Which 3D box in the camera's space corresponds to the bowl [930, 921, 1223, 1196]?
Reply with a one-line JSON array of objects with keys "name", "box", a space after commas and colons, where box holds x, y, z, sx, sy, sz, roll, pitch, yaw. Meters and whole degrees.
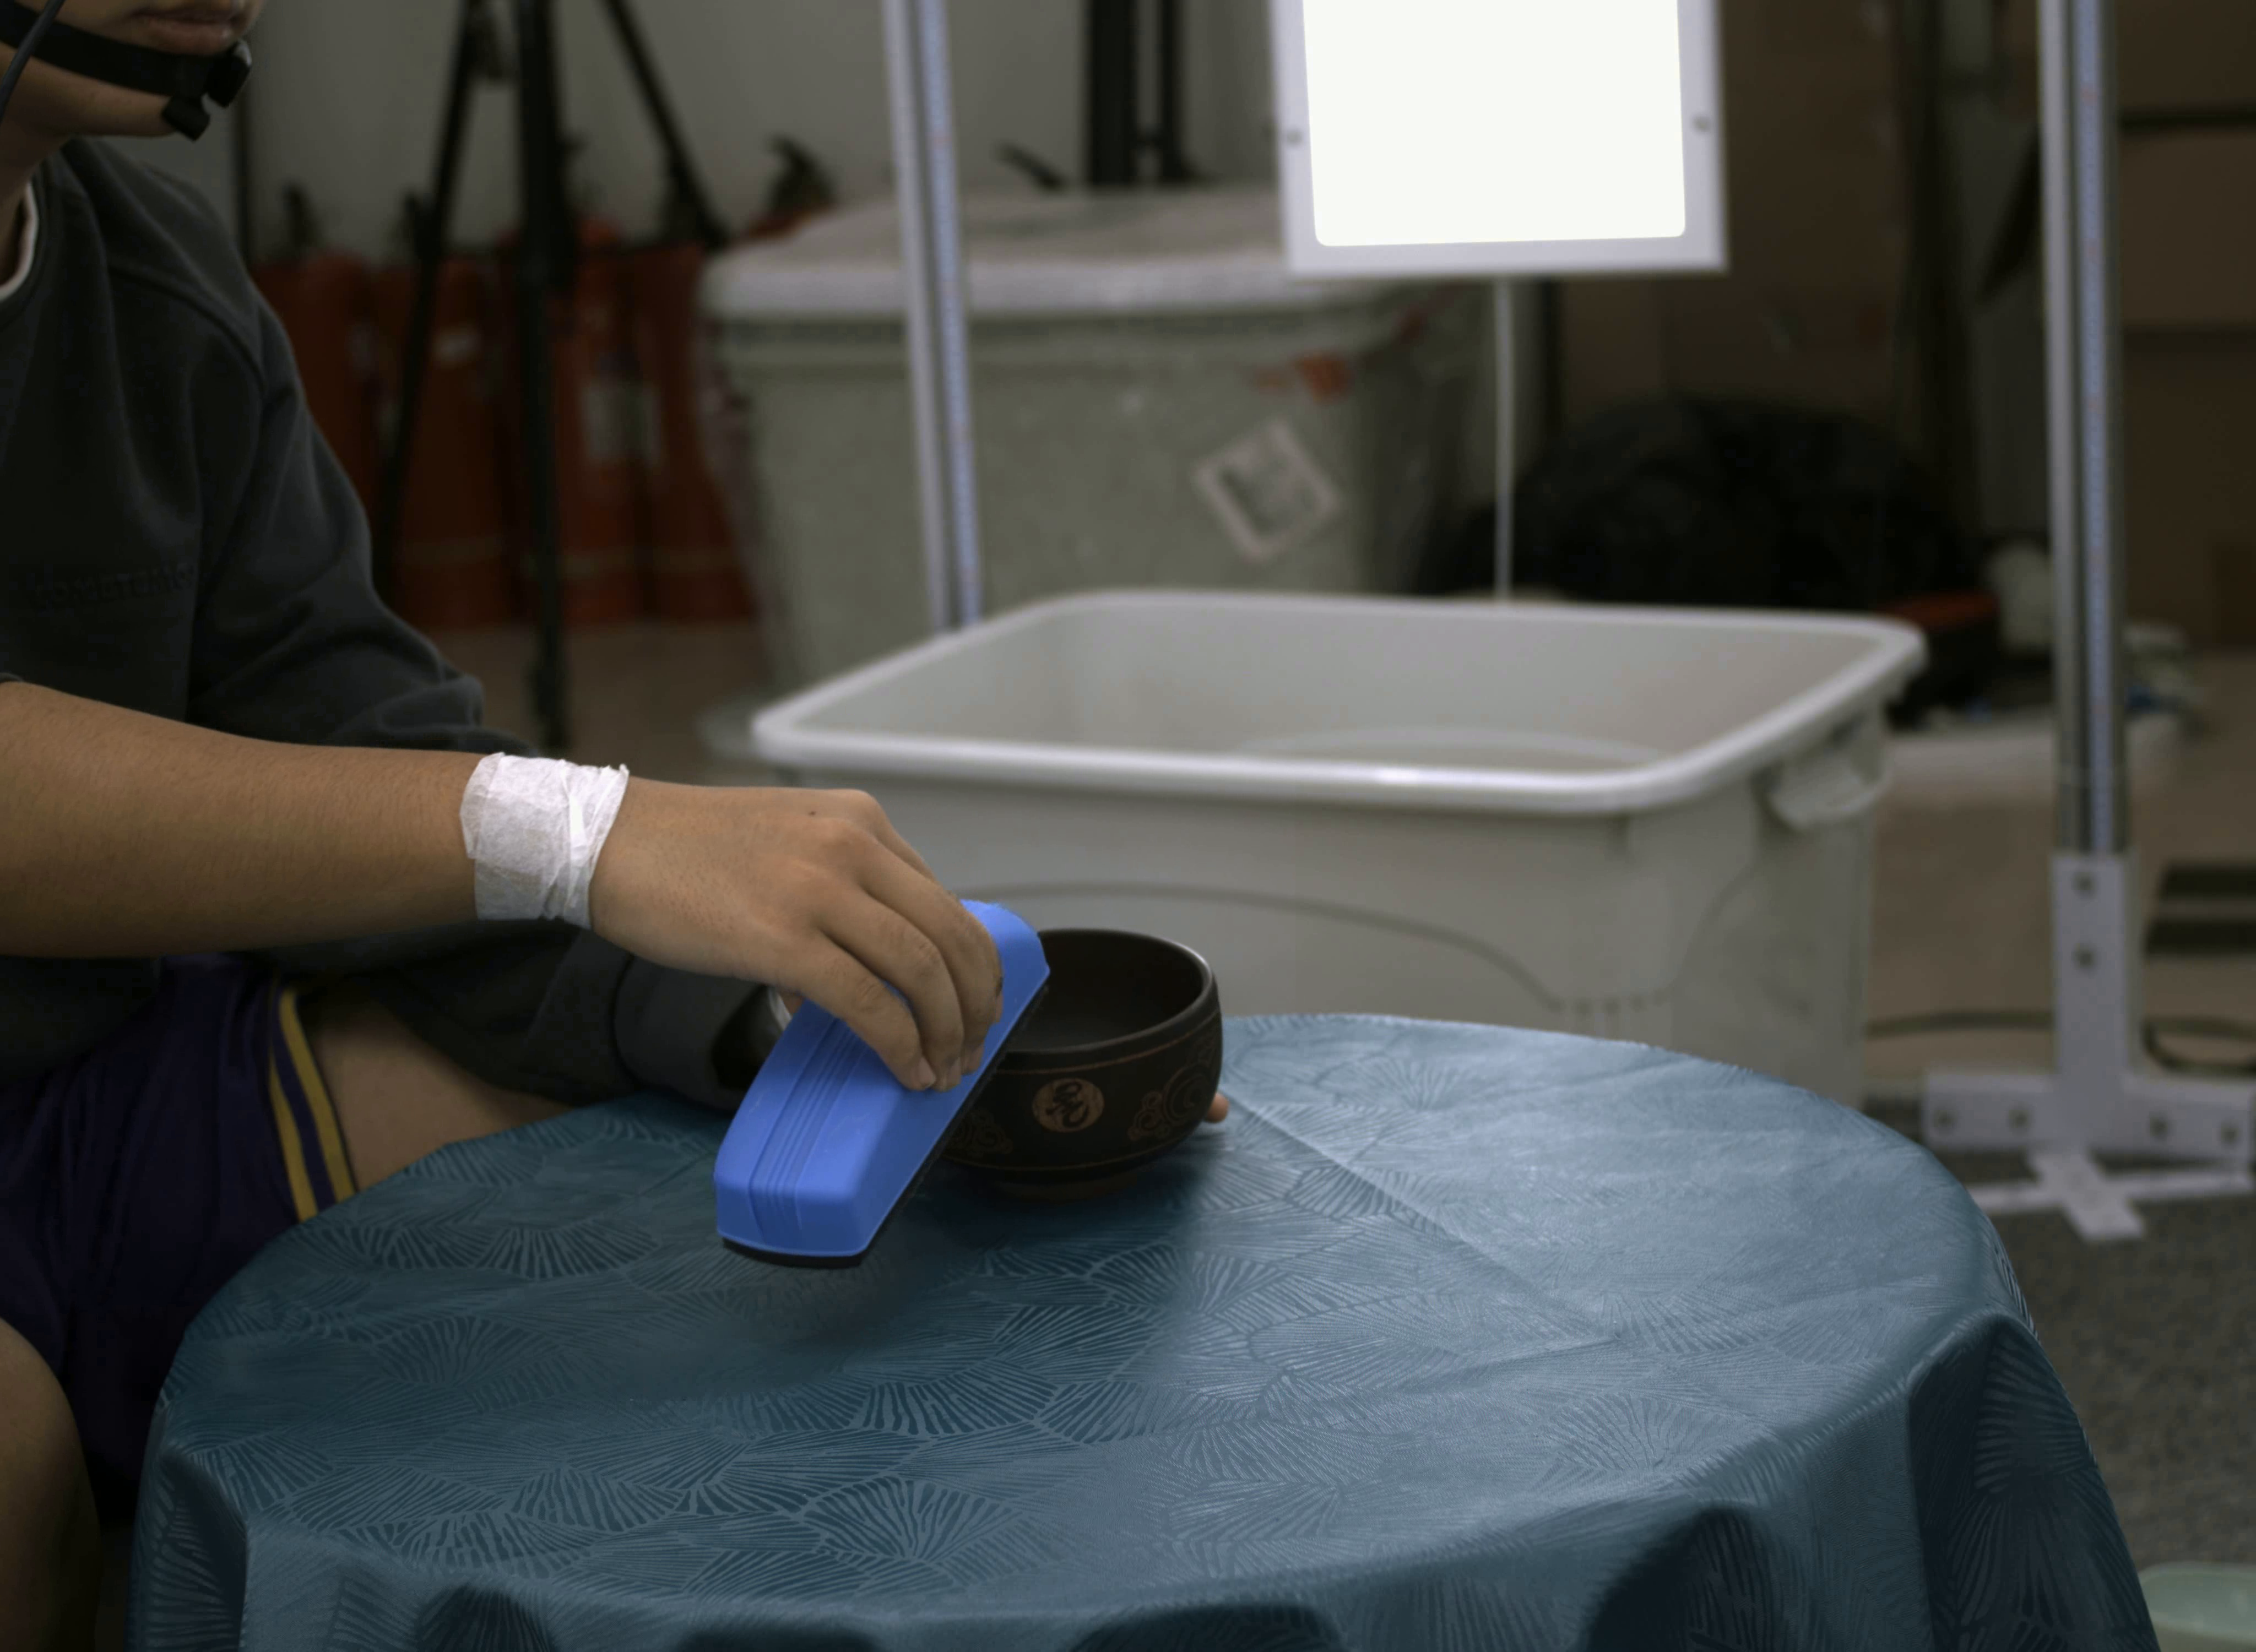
[{"name": "bowl", "box": [-0.024, 0.085, 1.906, 0.118, 0.070, 0.118, -6, 21, 1]}]

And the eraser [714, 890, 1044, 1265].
[{"name": "eraser", "box": [-0.080, 0.076, 1.797, 0.054, 0.048, 0.159, 9, 39, 21]}]
